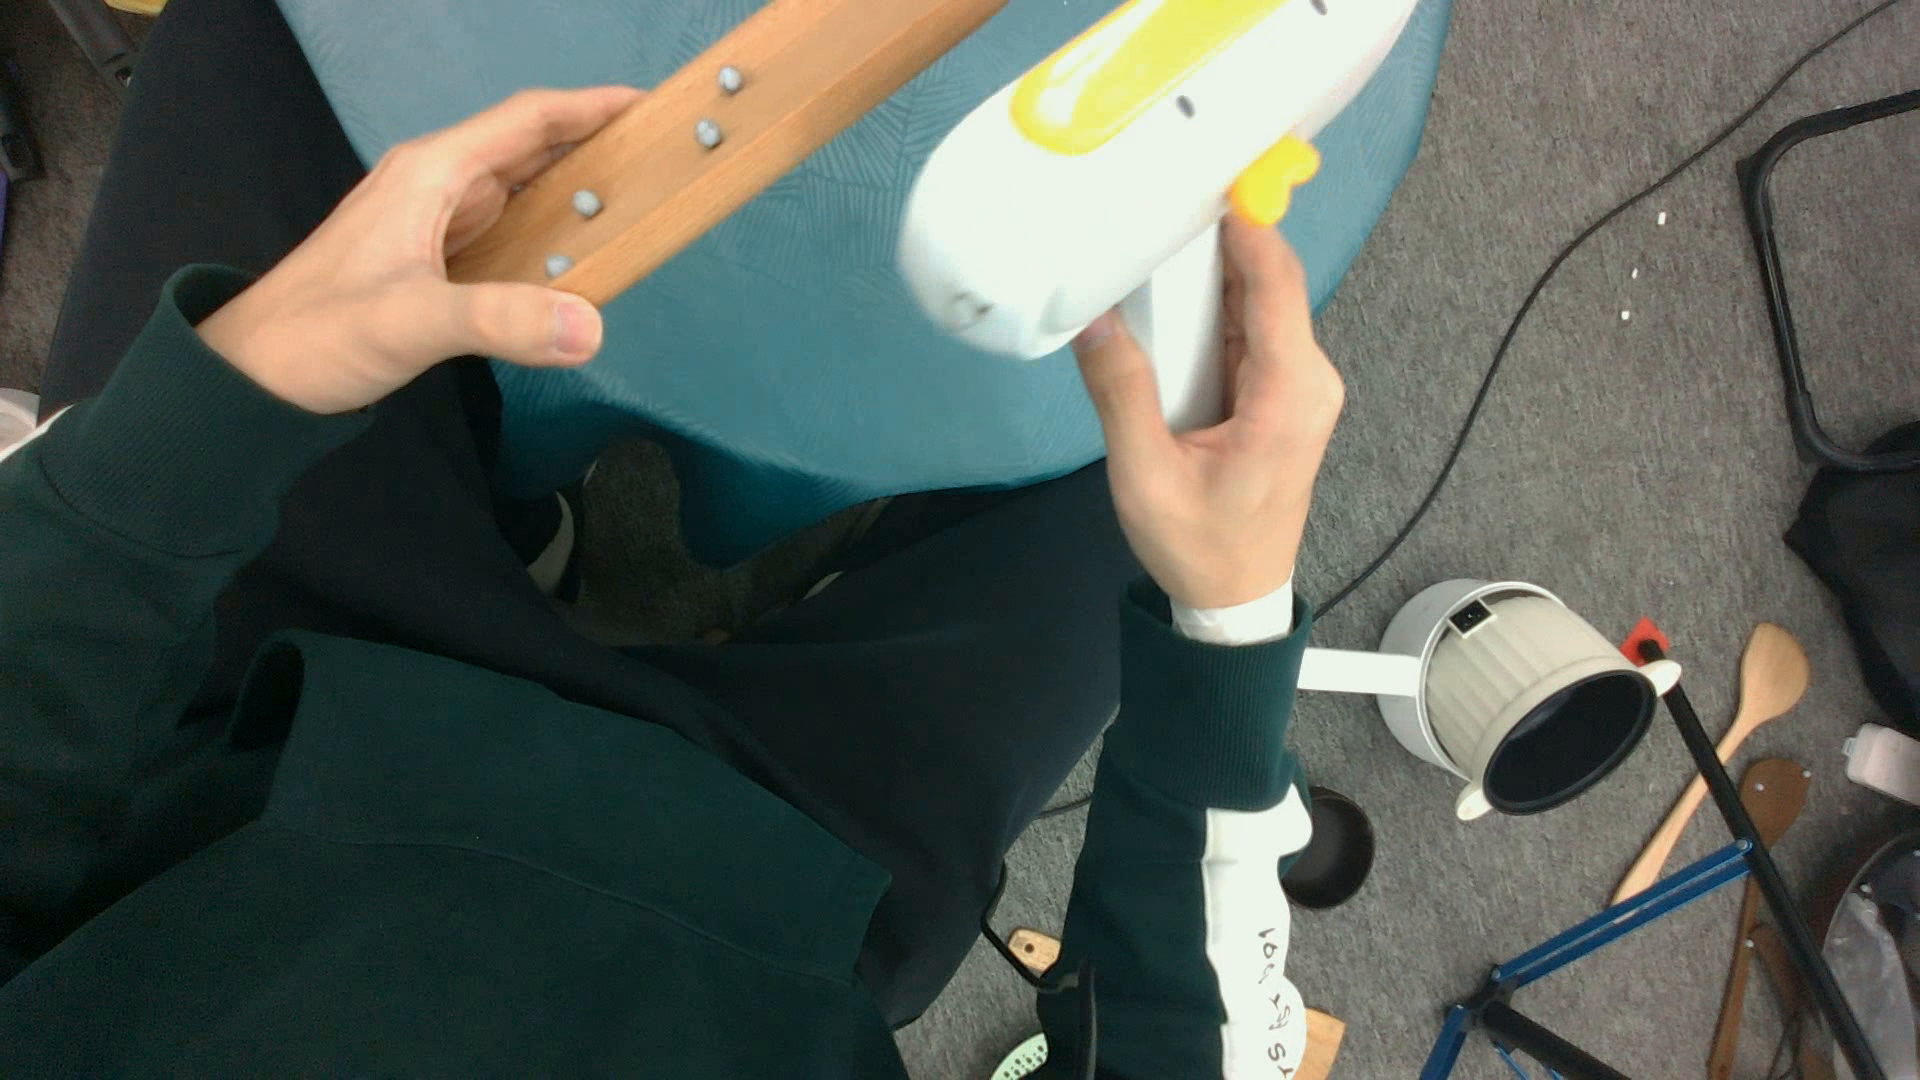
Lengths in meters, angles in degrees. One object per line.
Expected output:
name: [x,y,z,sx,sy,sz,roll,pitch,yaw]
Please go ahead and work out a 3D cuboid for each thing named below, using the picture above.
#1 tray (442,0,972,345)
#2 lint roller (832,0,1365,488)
tray: [-0.069,-0.141,0.436,0.231,0.102,0.020,-37,127,0]
lint roller: [0.055,-0.088,0.439,0.074,0.191,0.193,35,69,23]
